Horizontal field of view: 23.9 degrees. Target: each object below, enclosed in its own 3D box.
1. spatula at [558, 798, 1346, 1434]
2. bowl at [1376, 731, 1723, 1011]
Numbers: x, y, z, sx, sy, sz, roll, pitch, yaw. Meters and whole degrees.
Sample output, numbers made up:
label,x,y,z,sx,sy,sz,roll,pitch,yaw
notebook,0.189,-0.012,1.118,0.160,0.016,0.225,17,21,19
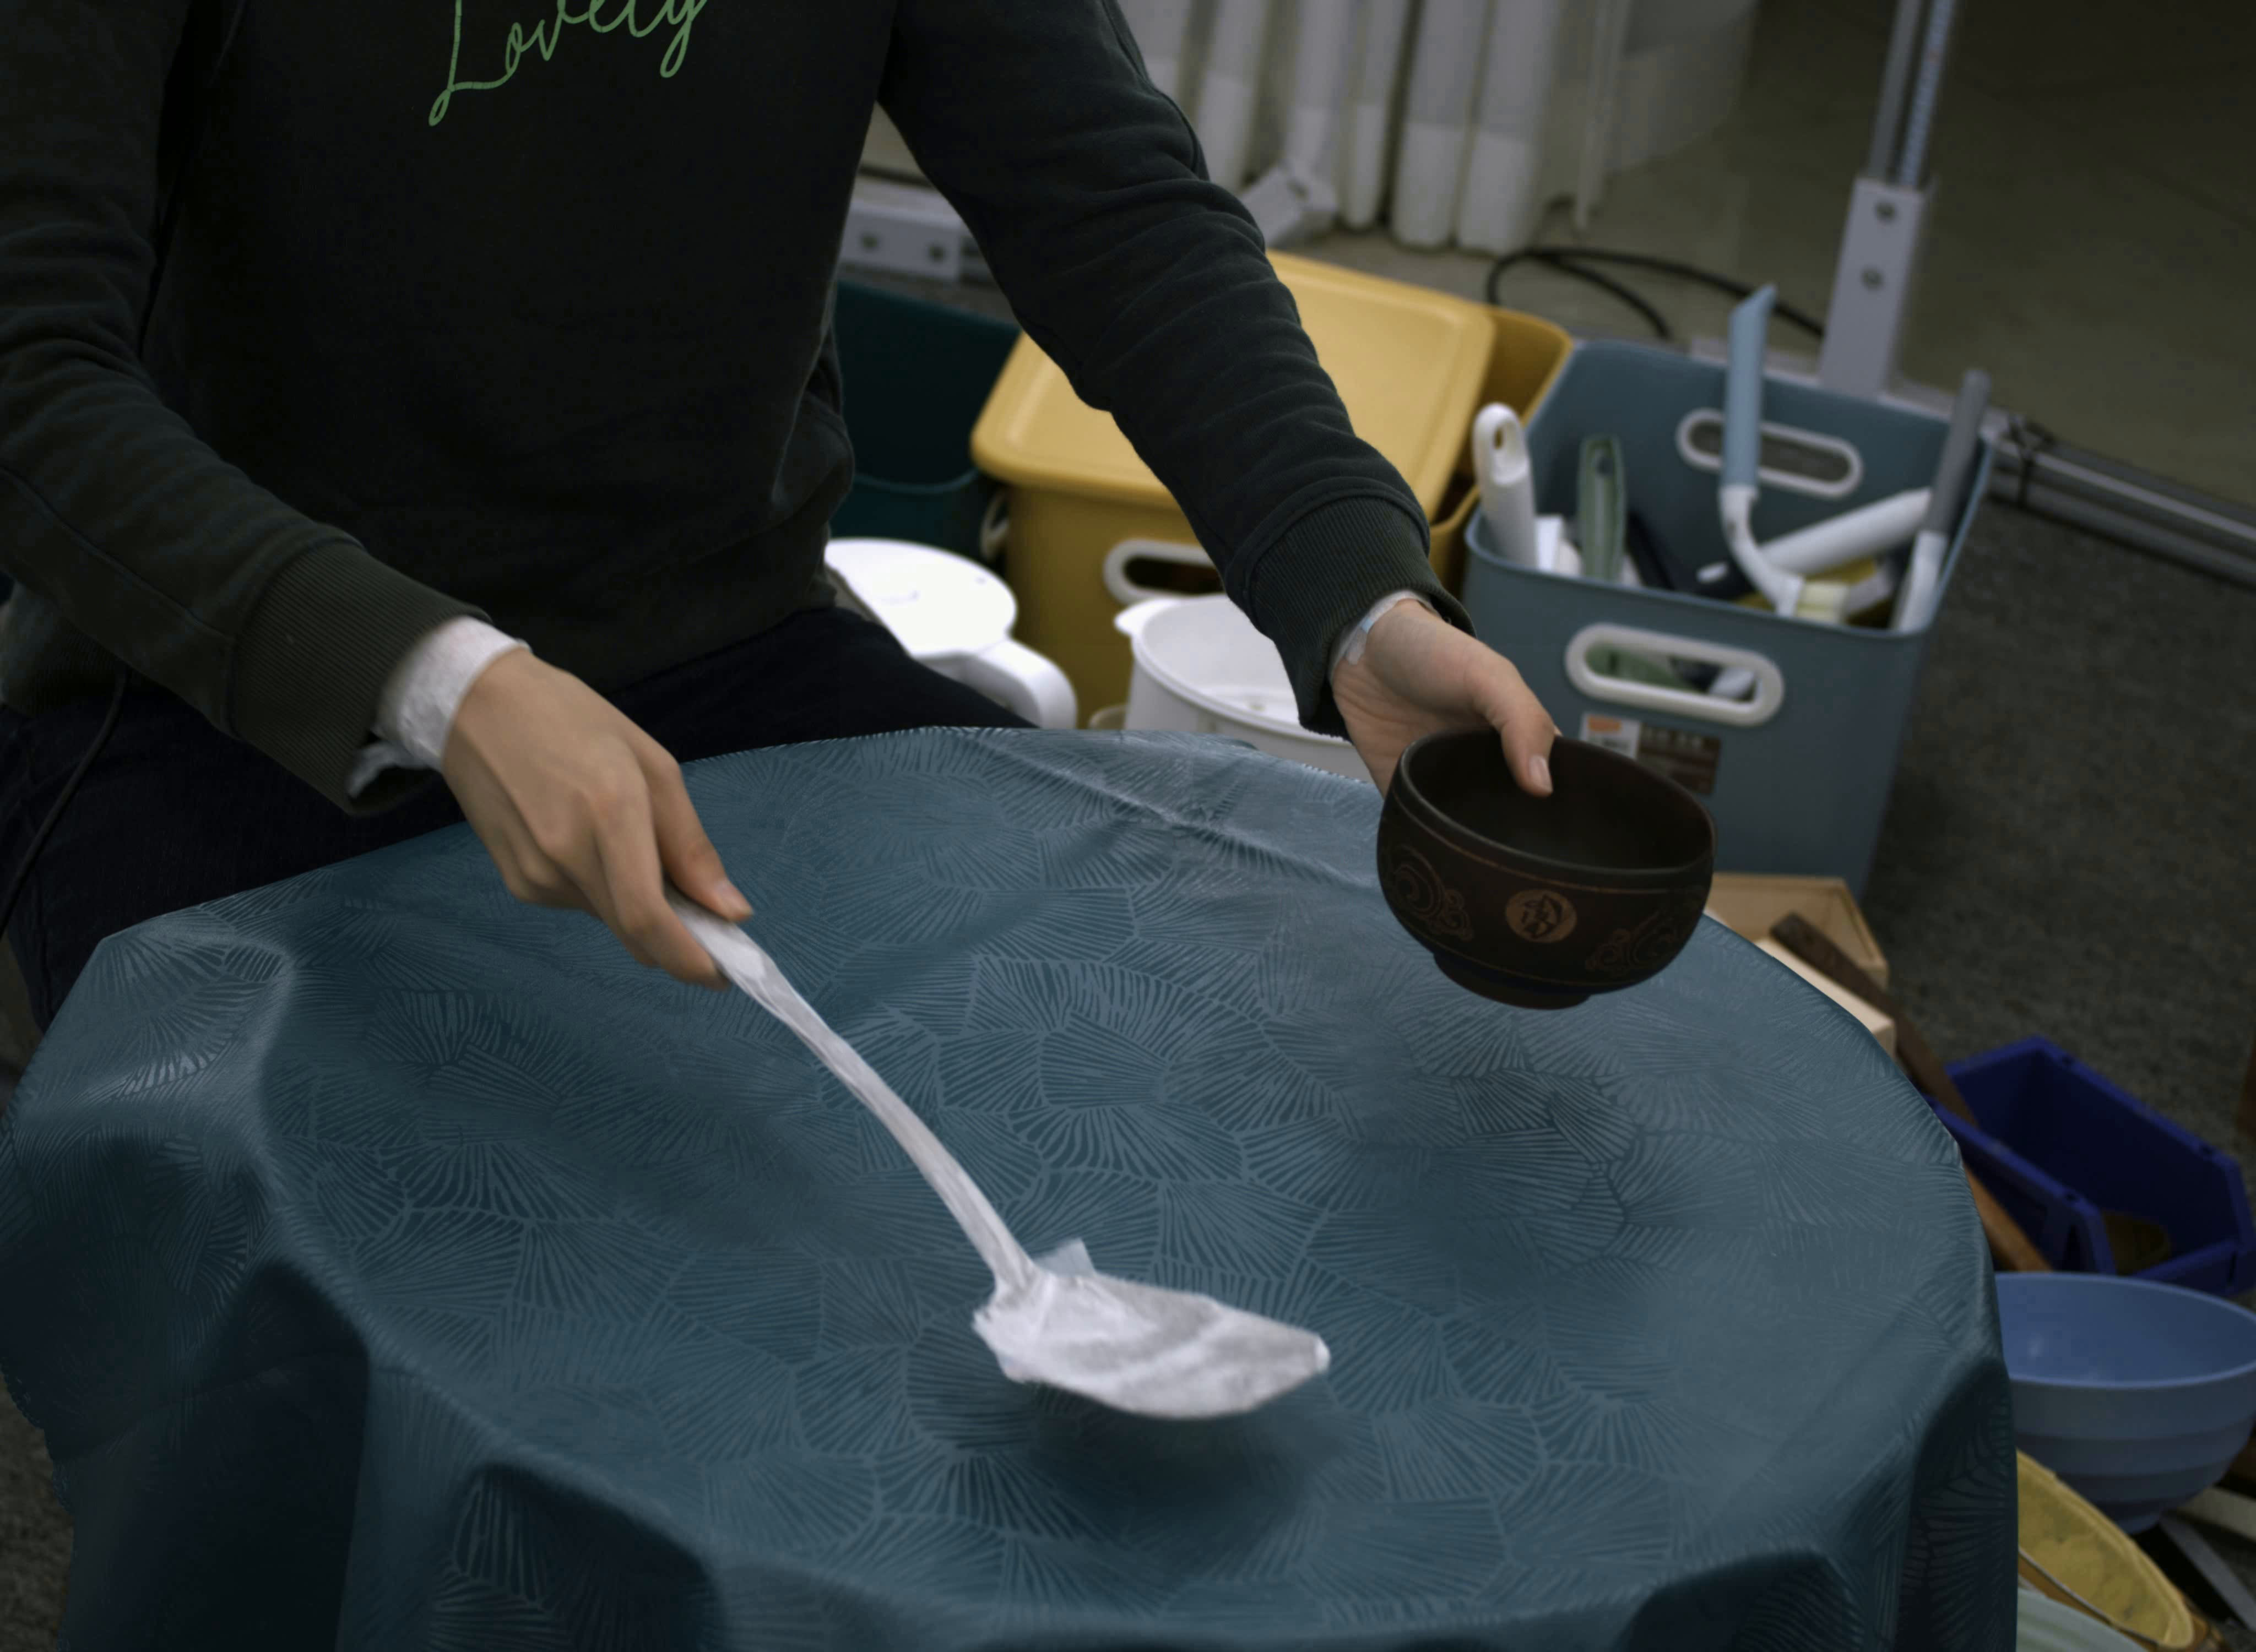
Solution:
label,x,y,z,sx,sy,sz,roll,pitch,yaw
spatula,-0.077,0.085,1.719,0.098,0.044,0.368,-13,46,-44
bowl,0.141,0.021,1.837,0.117,0.070,0.118,11,21,-5
